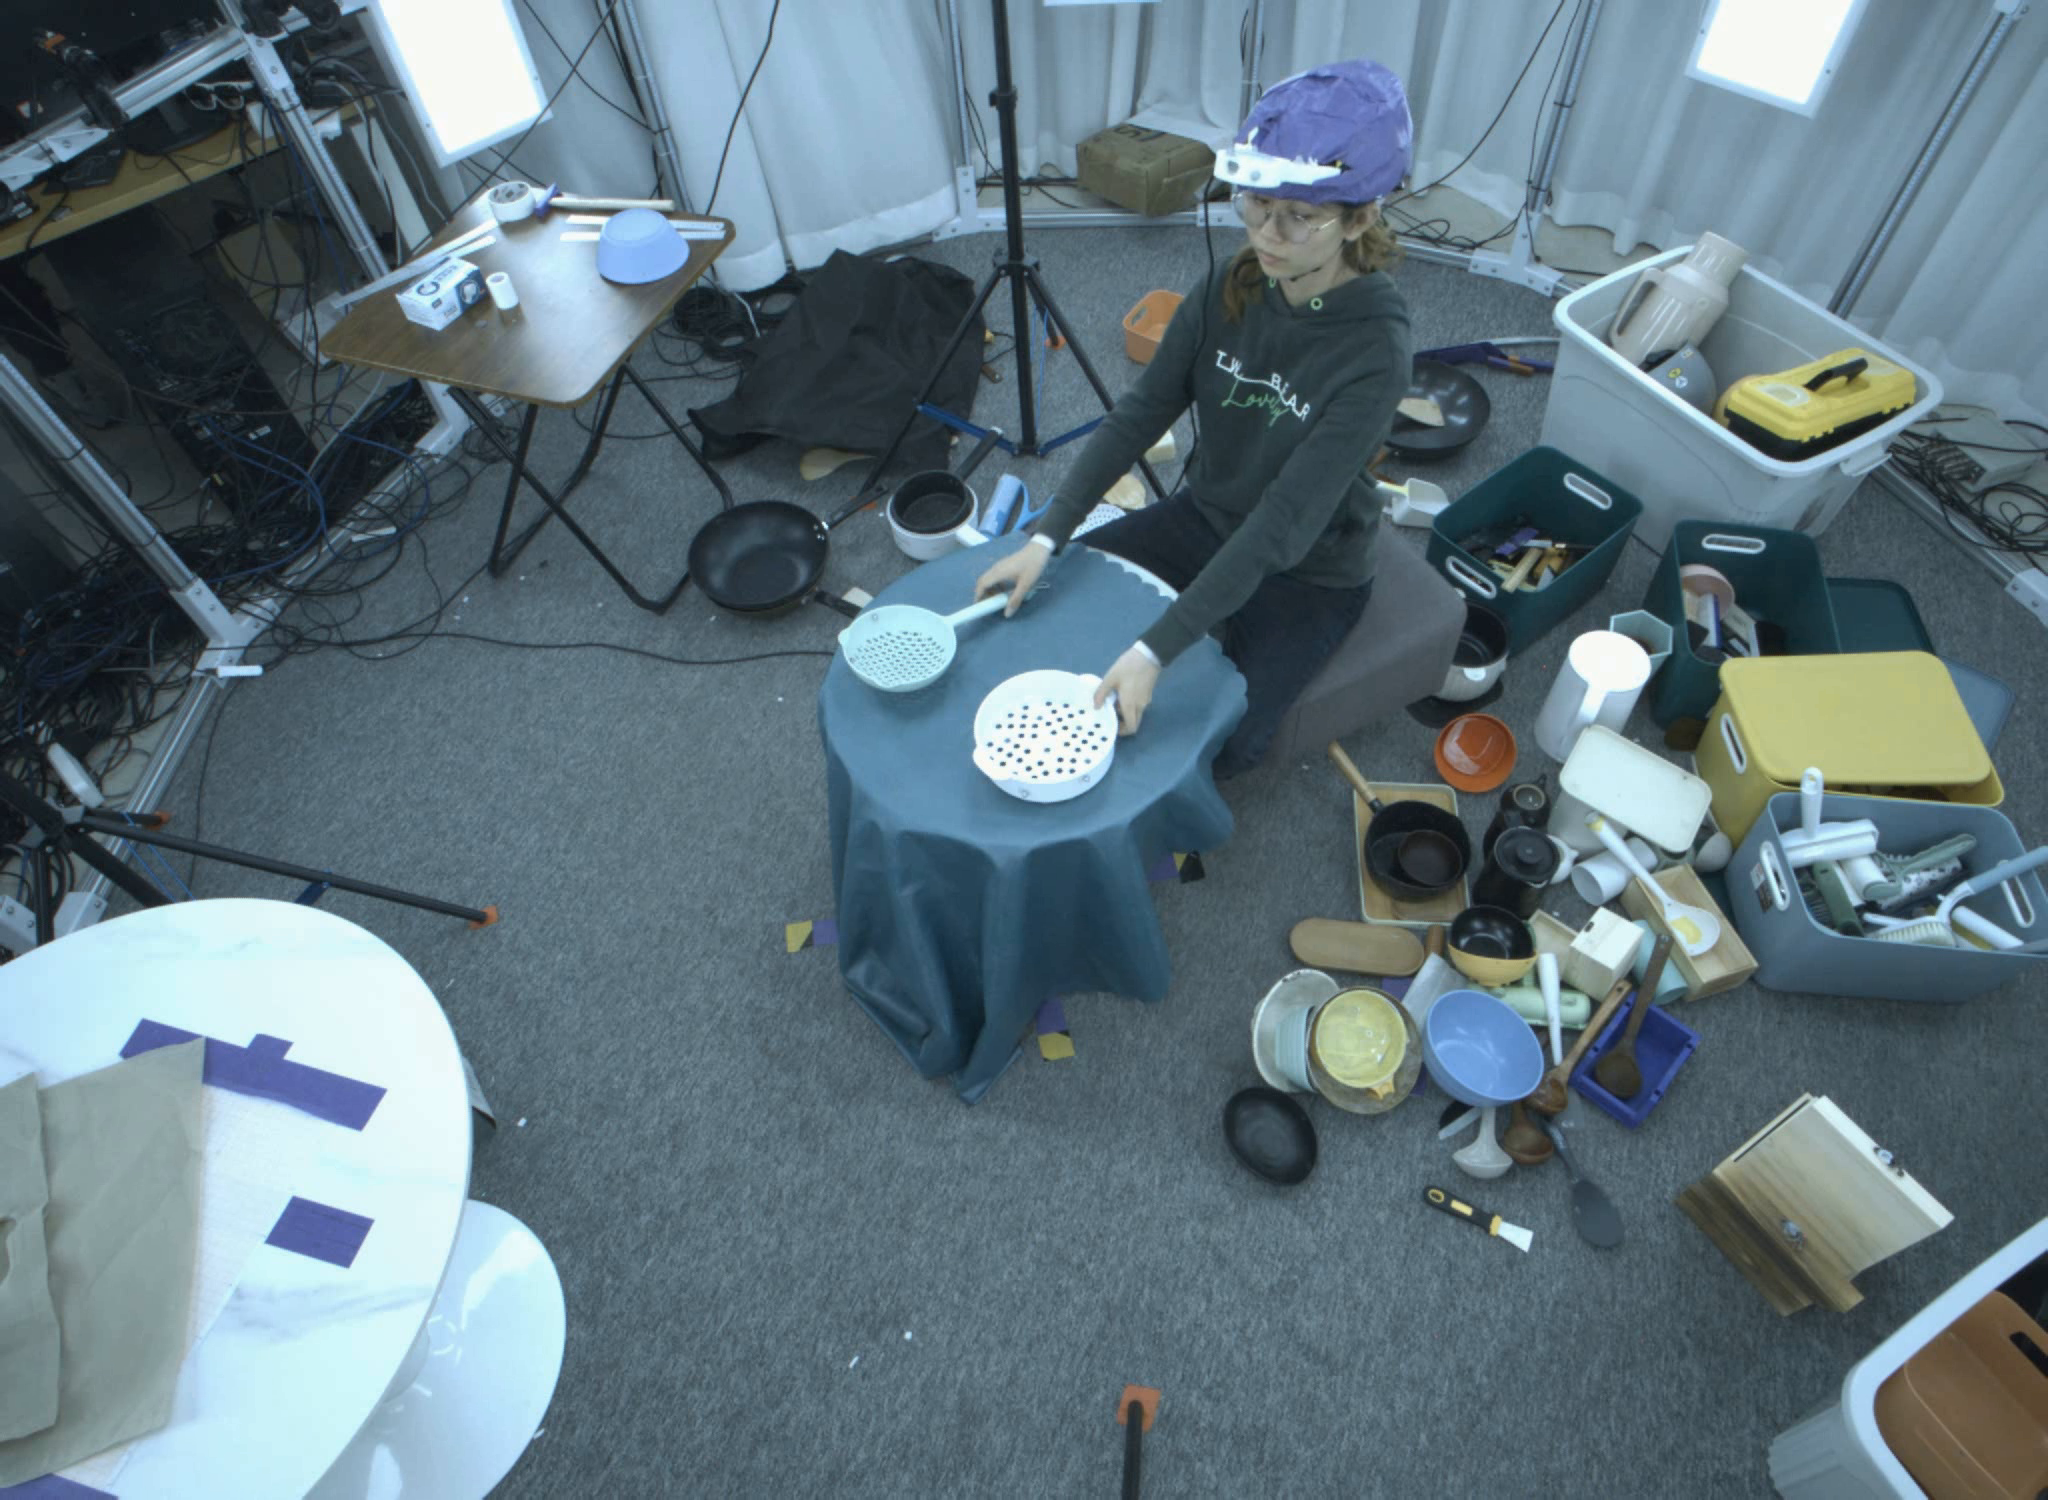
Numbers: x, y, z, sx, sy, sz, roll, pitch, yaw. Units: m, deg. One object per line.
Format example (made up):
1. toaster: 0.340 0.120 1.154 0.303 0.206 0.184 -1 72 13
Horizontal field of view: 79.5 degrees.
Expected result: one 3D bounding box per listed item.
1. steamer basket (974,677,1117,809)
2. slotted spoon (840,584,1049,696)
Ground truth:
1. steamer basket: 0.031 -0.009 1.764 0.232 0.070 0.198 -36 62 -22
2. slotted spoon: -0.108 -0.189 1.894 0.361 0.076 0.166 -33 61 -19
